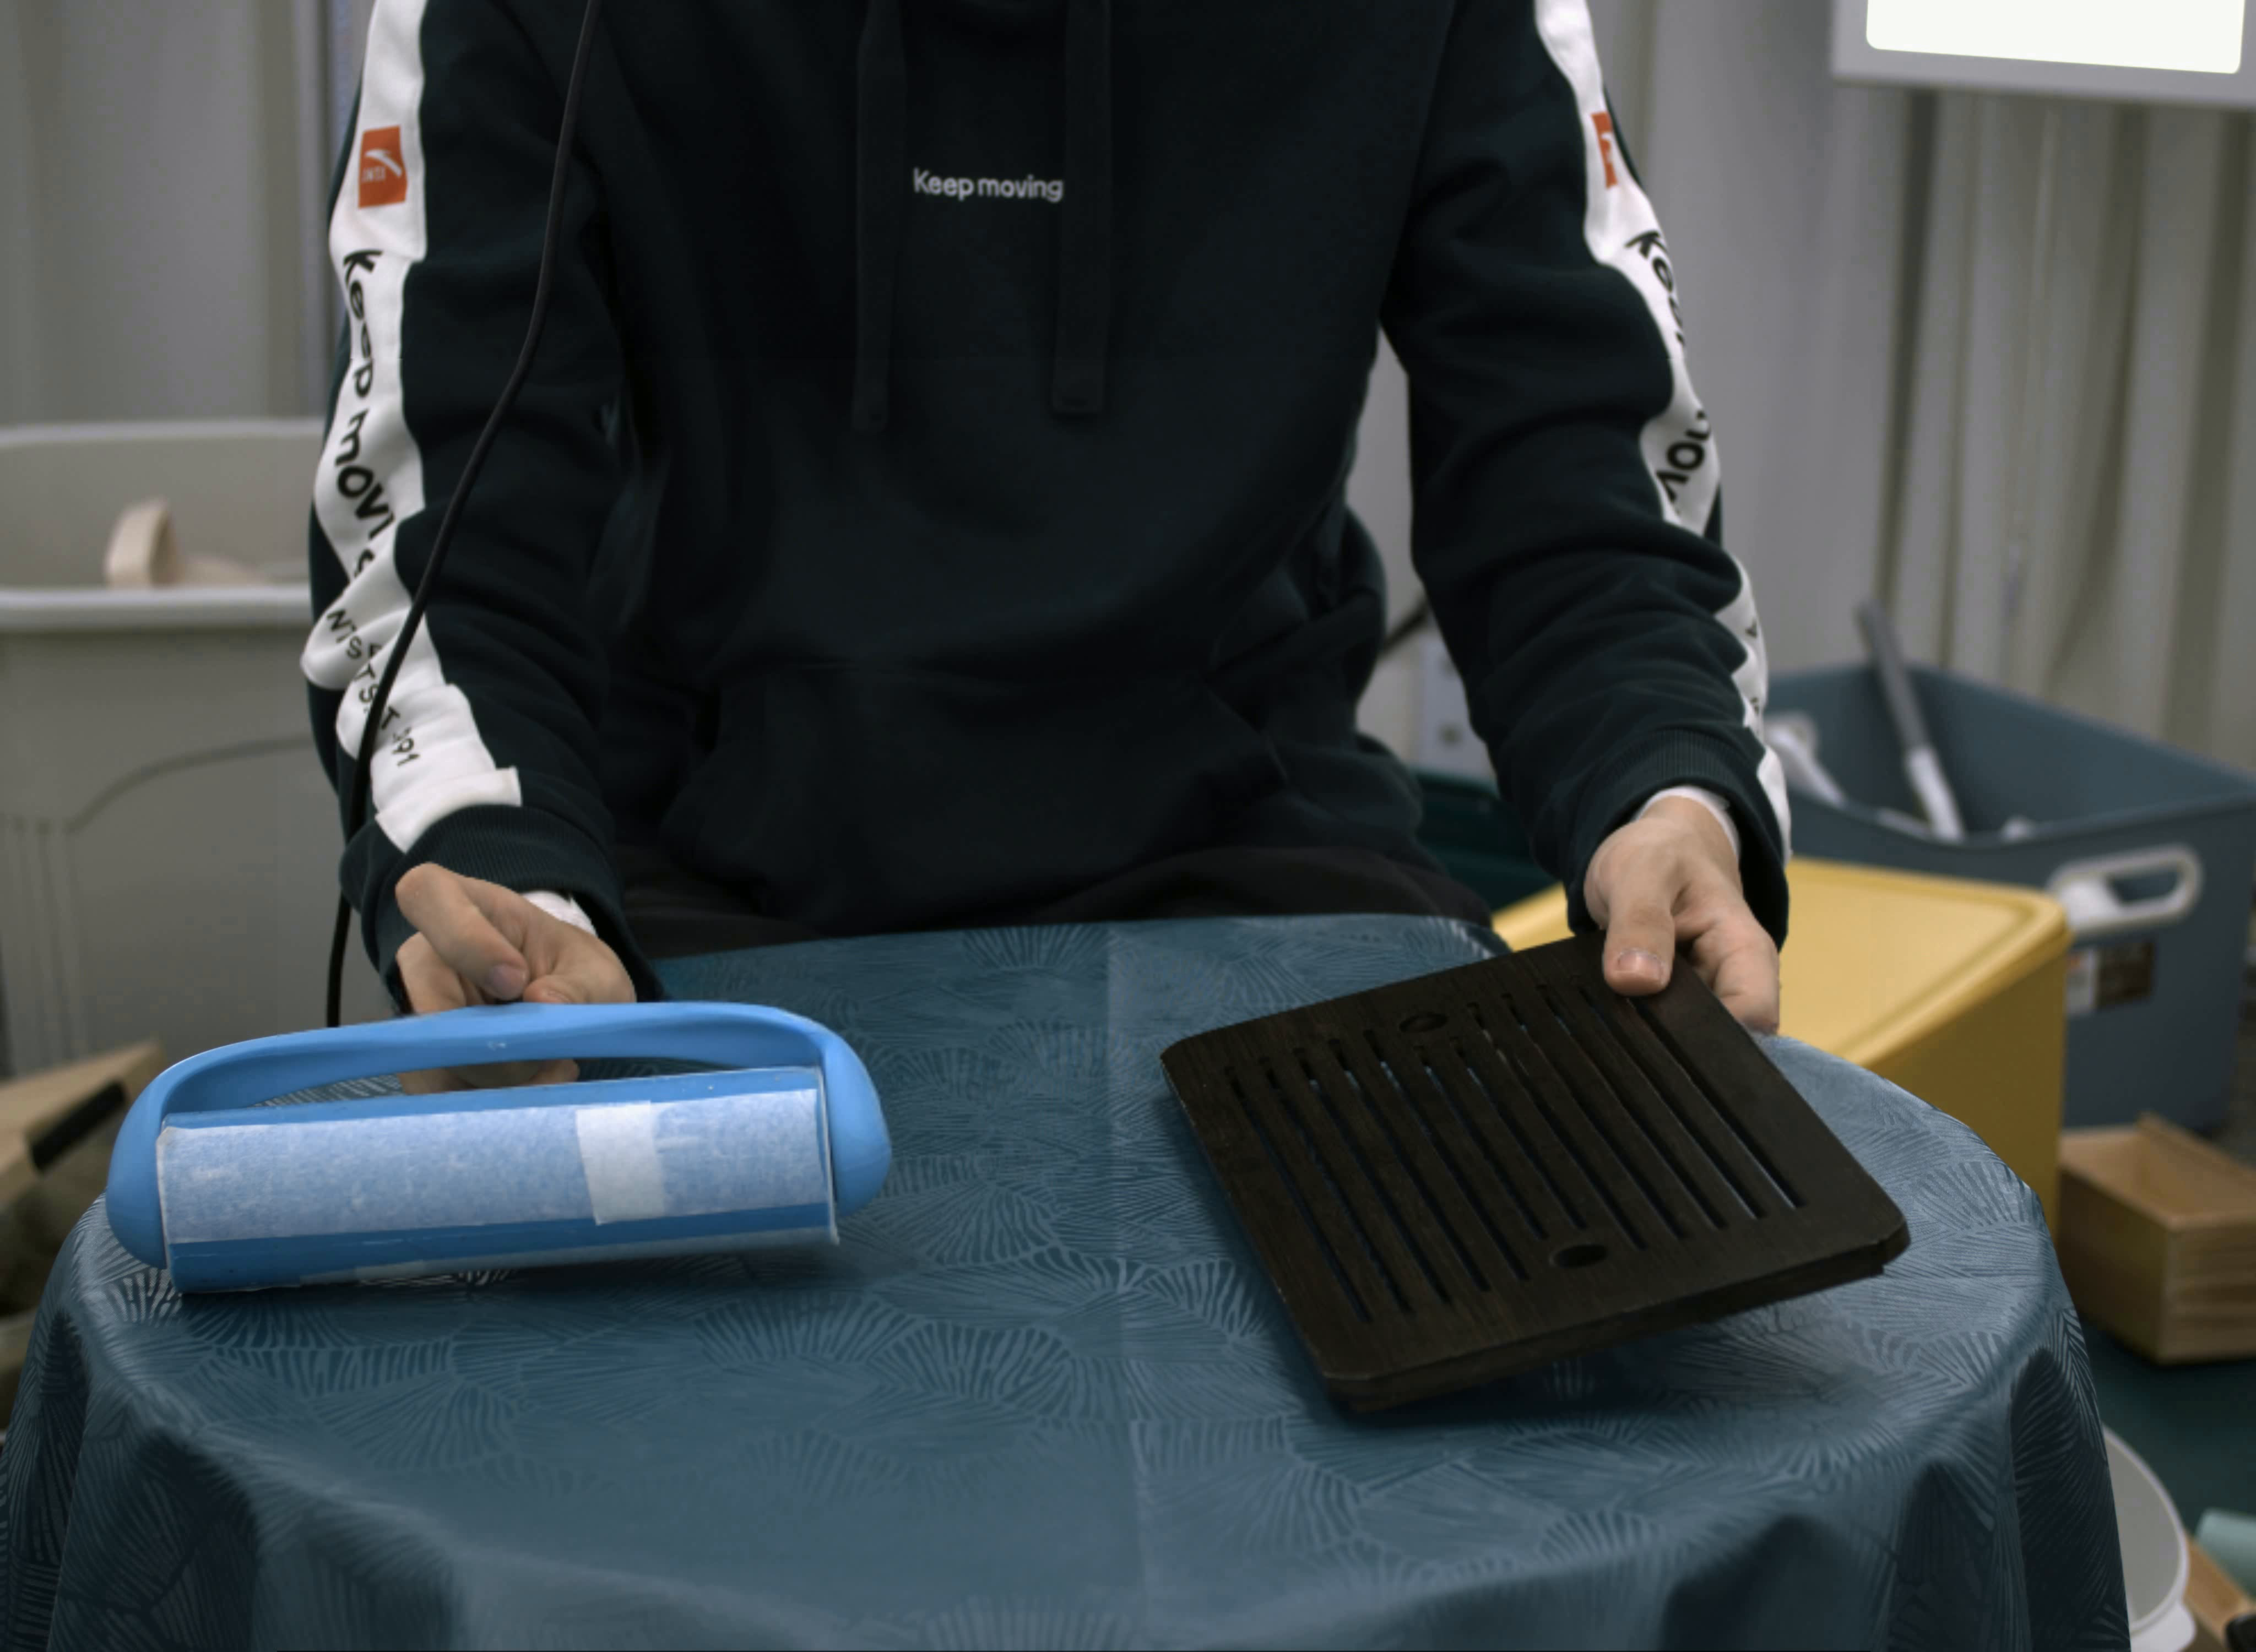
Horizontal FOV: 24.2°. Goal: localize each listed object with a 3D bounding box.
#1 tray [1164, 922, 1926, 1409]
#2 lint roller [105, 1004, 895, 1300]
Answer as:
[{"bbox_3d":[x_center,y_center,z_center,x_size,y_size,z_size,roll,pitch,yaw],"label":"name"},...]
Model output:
[{"bbox_3d":[0.116,0.097,1.579,0.170,0.019,0.303,-15,17,-6],"label":"tray"},{"bbox_3d":[-0.190,0.086,1.588,0.228,0.068,0.179,-6,16,-7],"label":"lint roller"}]
